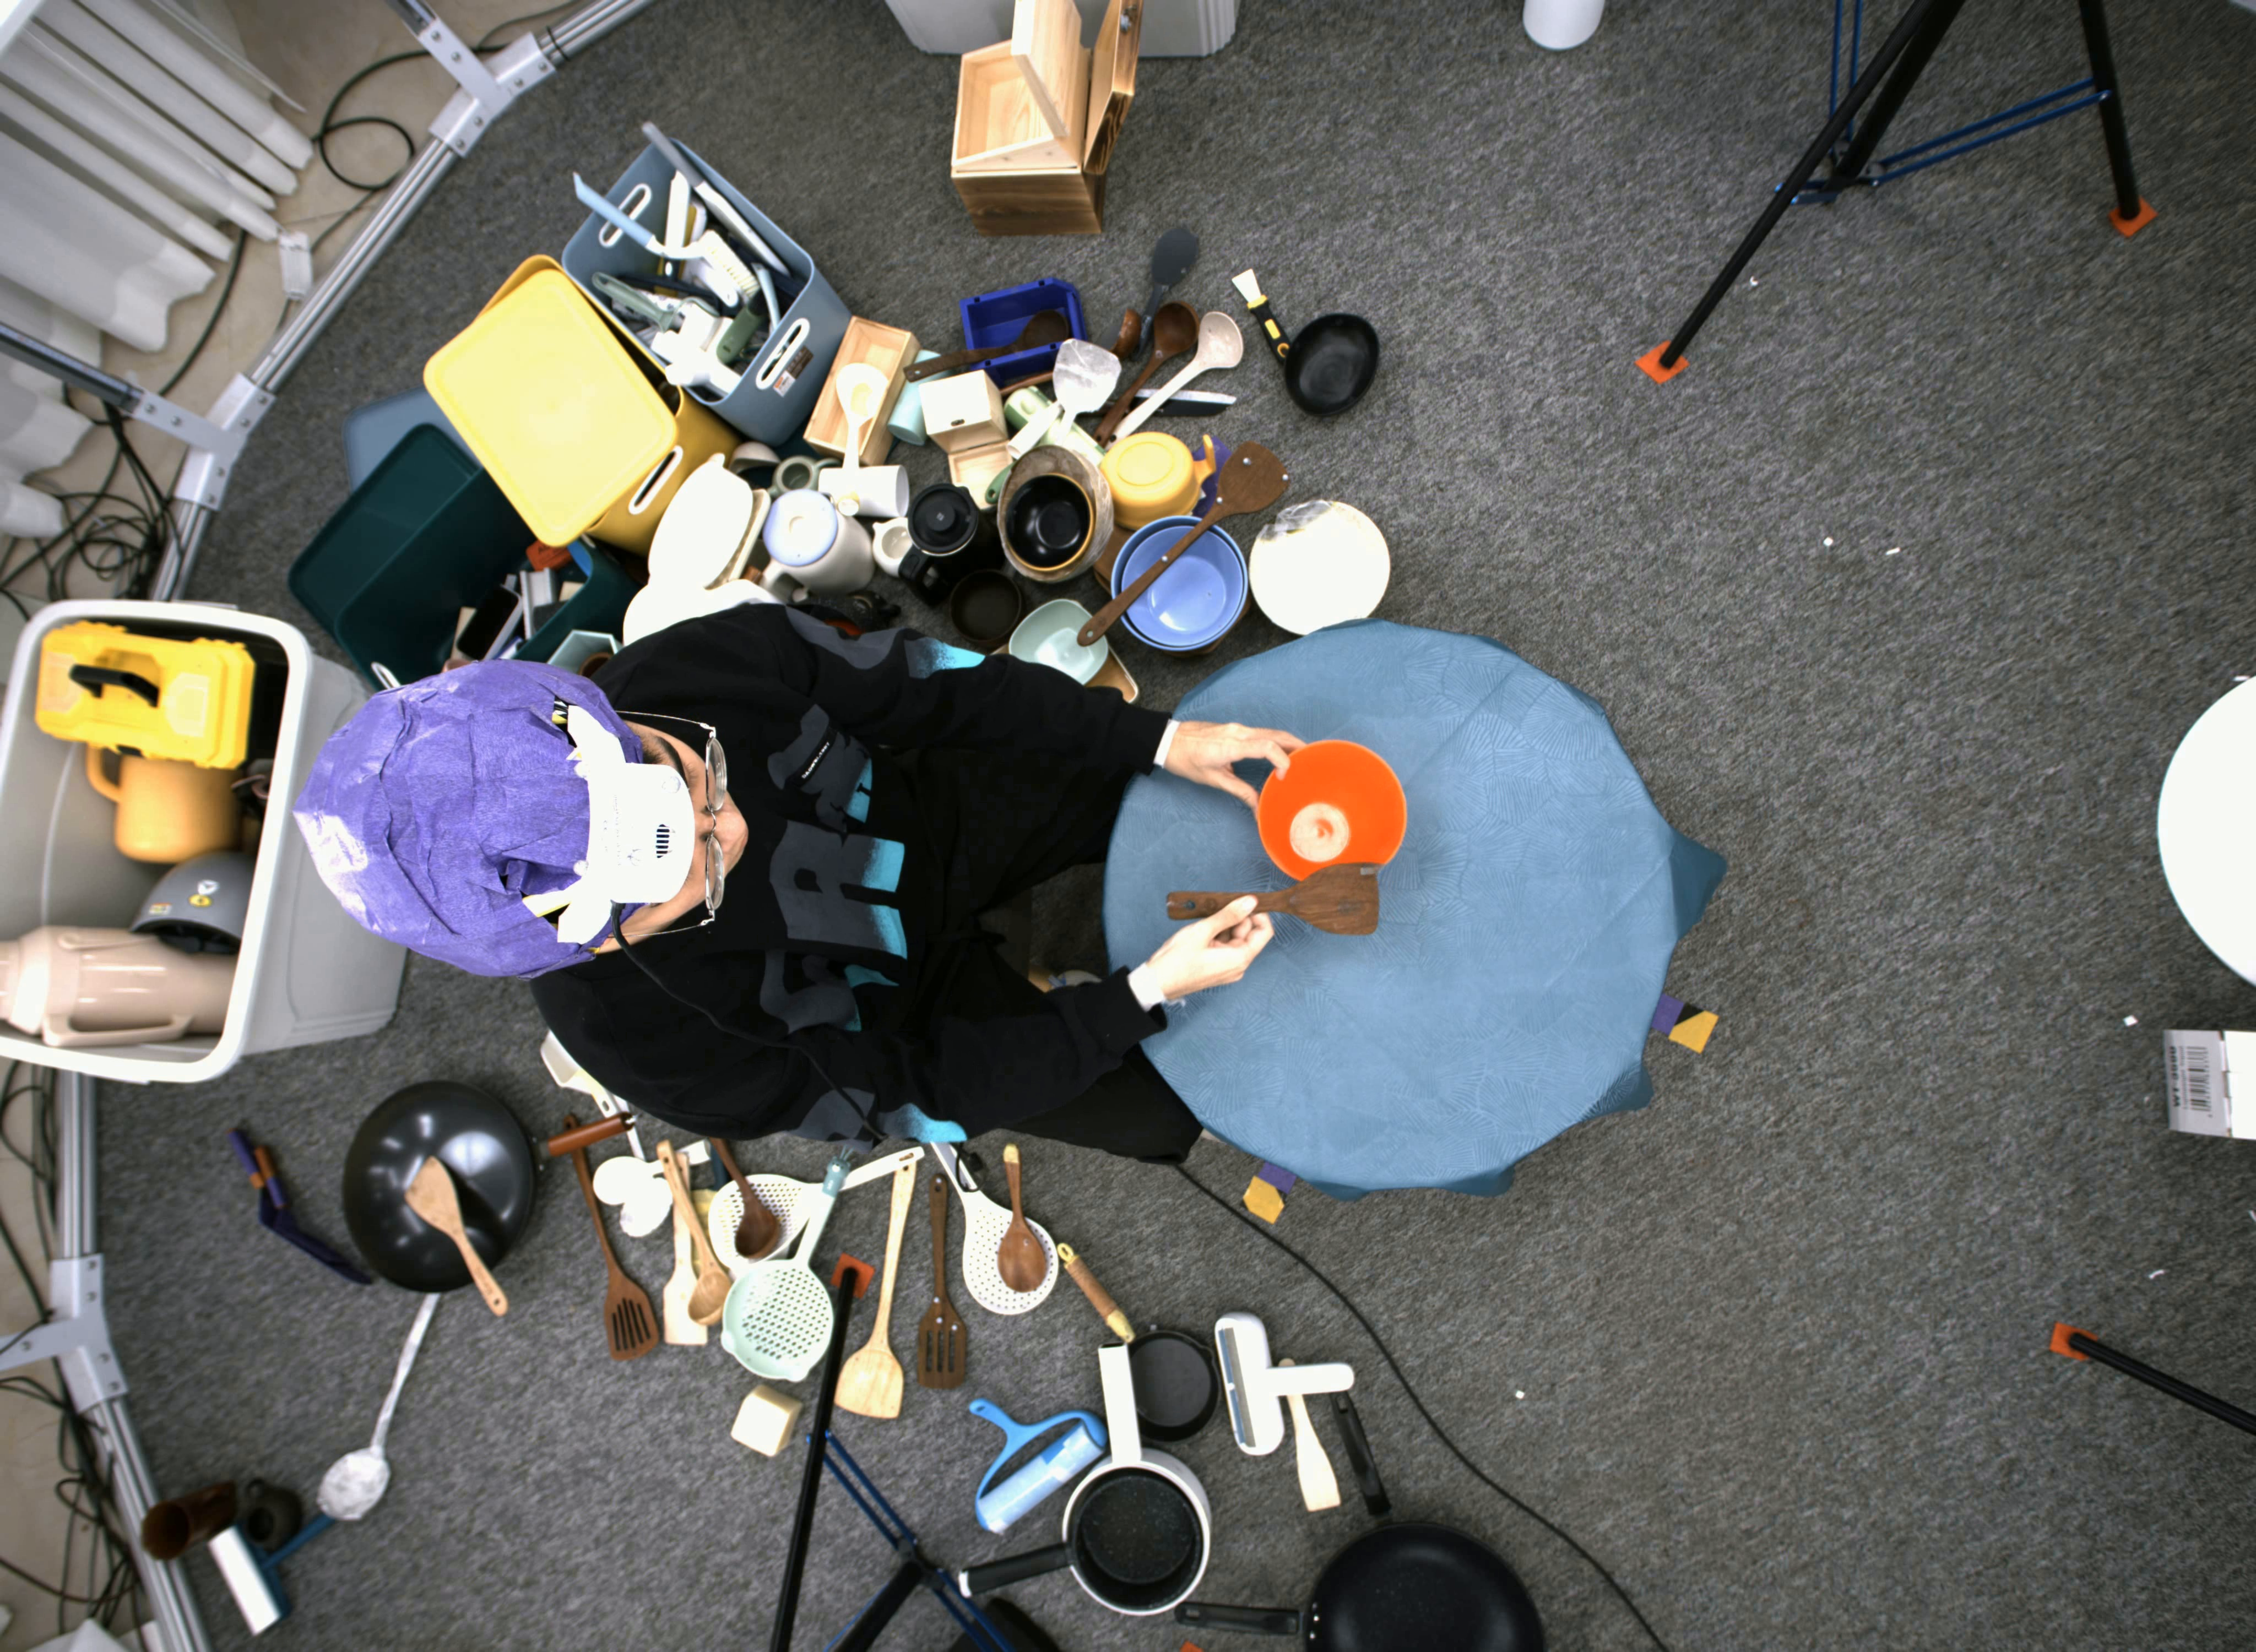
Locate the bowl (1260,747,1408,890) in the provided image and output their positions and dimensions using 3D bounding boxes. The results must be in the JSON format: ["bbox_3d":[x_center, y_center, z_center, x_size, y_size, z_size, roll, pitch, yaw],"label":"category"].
[{"bbox_3d":[0.212,-0.002,1.429,0.148,0.105,0.147,-1,85,8],"label":"bowl"}]

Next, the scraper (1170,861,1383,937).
[{"bbox_3d":[0.147,0.074,1.371,0.211,0.011,0.076,-2,96,-2],"label":"scraper"}]
